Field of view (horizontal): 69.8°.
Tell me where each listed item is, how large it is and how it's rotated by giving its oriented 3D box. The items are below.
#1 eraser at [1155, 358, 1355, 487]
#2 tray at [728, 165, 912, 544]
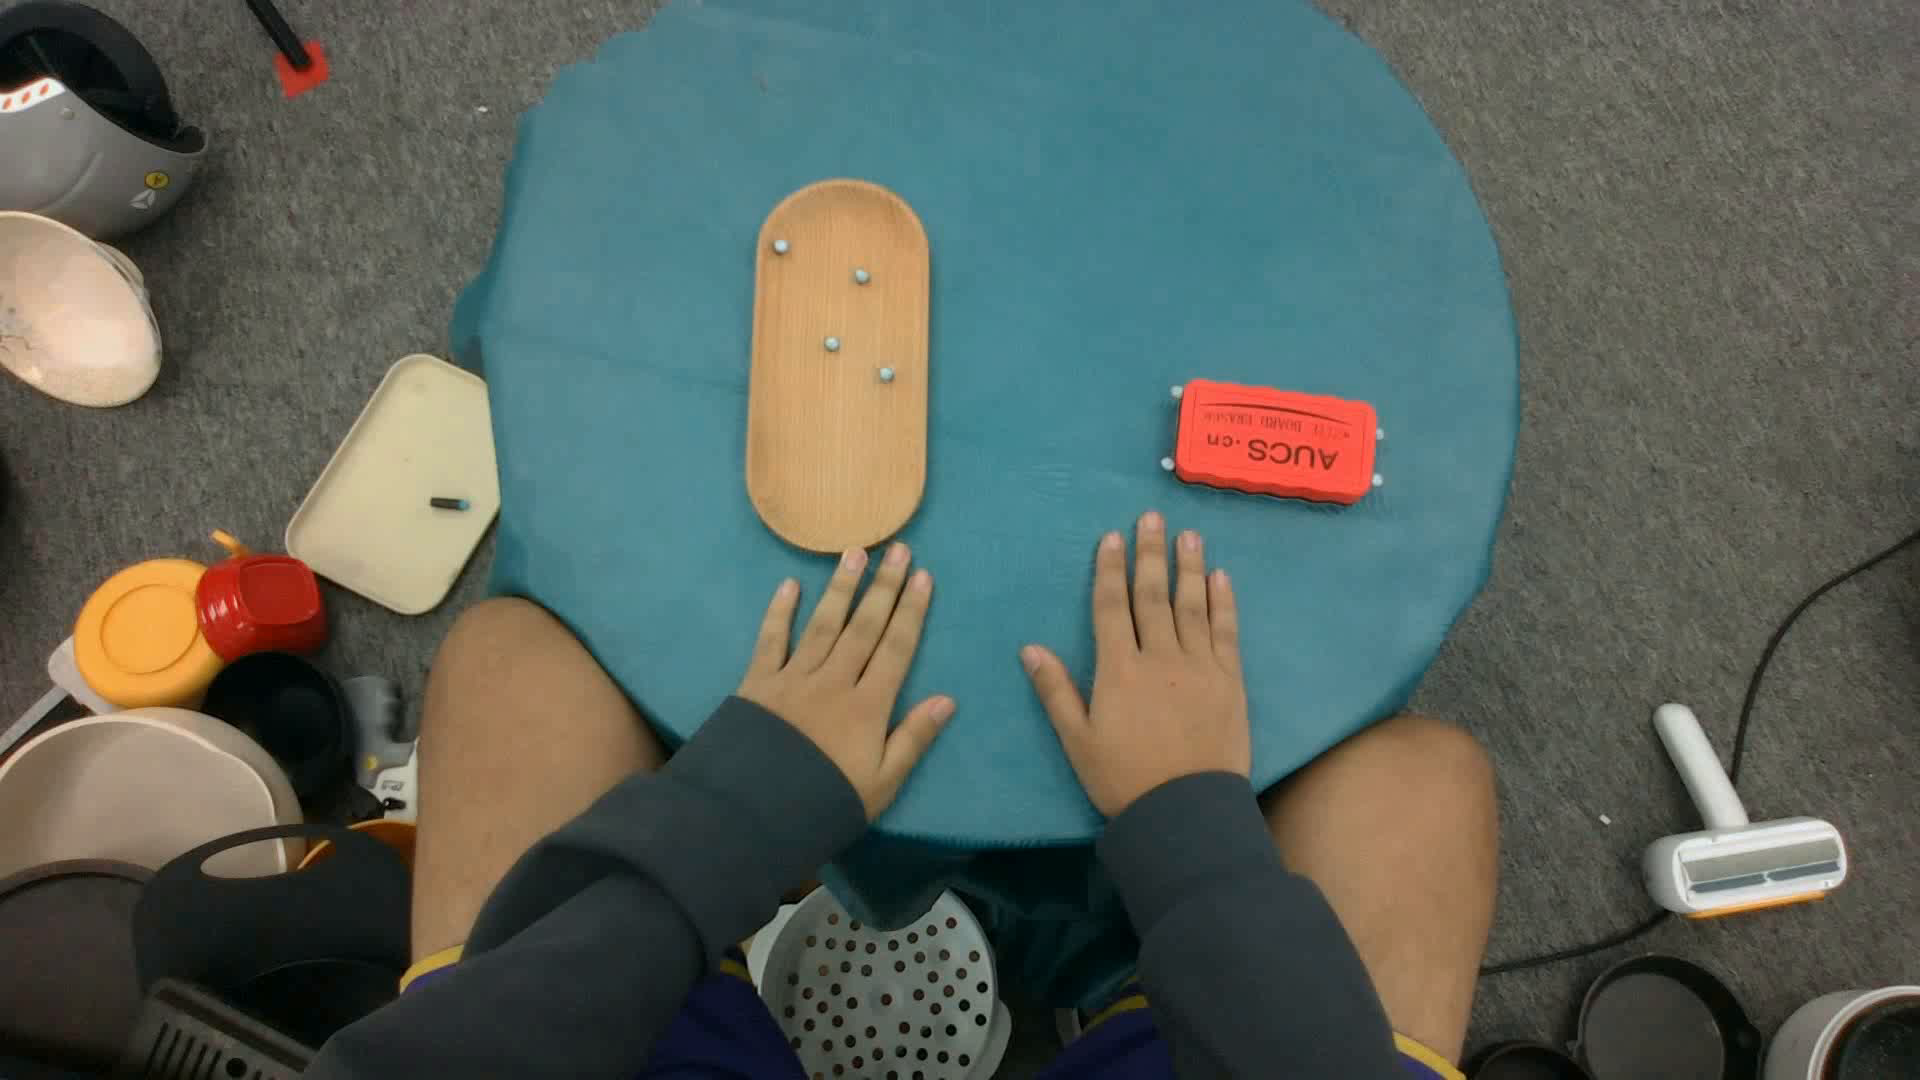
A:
[{"bbox_3d":[0.166,-0.066,0.775,0.108,0.023,0.059,9,66,0],"label":"eraser"},{"bbox_3d":[-0.078,-0.108,0.782,0.102,0.020,0.231,-1,74,-1],"label":"tray"}]
